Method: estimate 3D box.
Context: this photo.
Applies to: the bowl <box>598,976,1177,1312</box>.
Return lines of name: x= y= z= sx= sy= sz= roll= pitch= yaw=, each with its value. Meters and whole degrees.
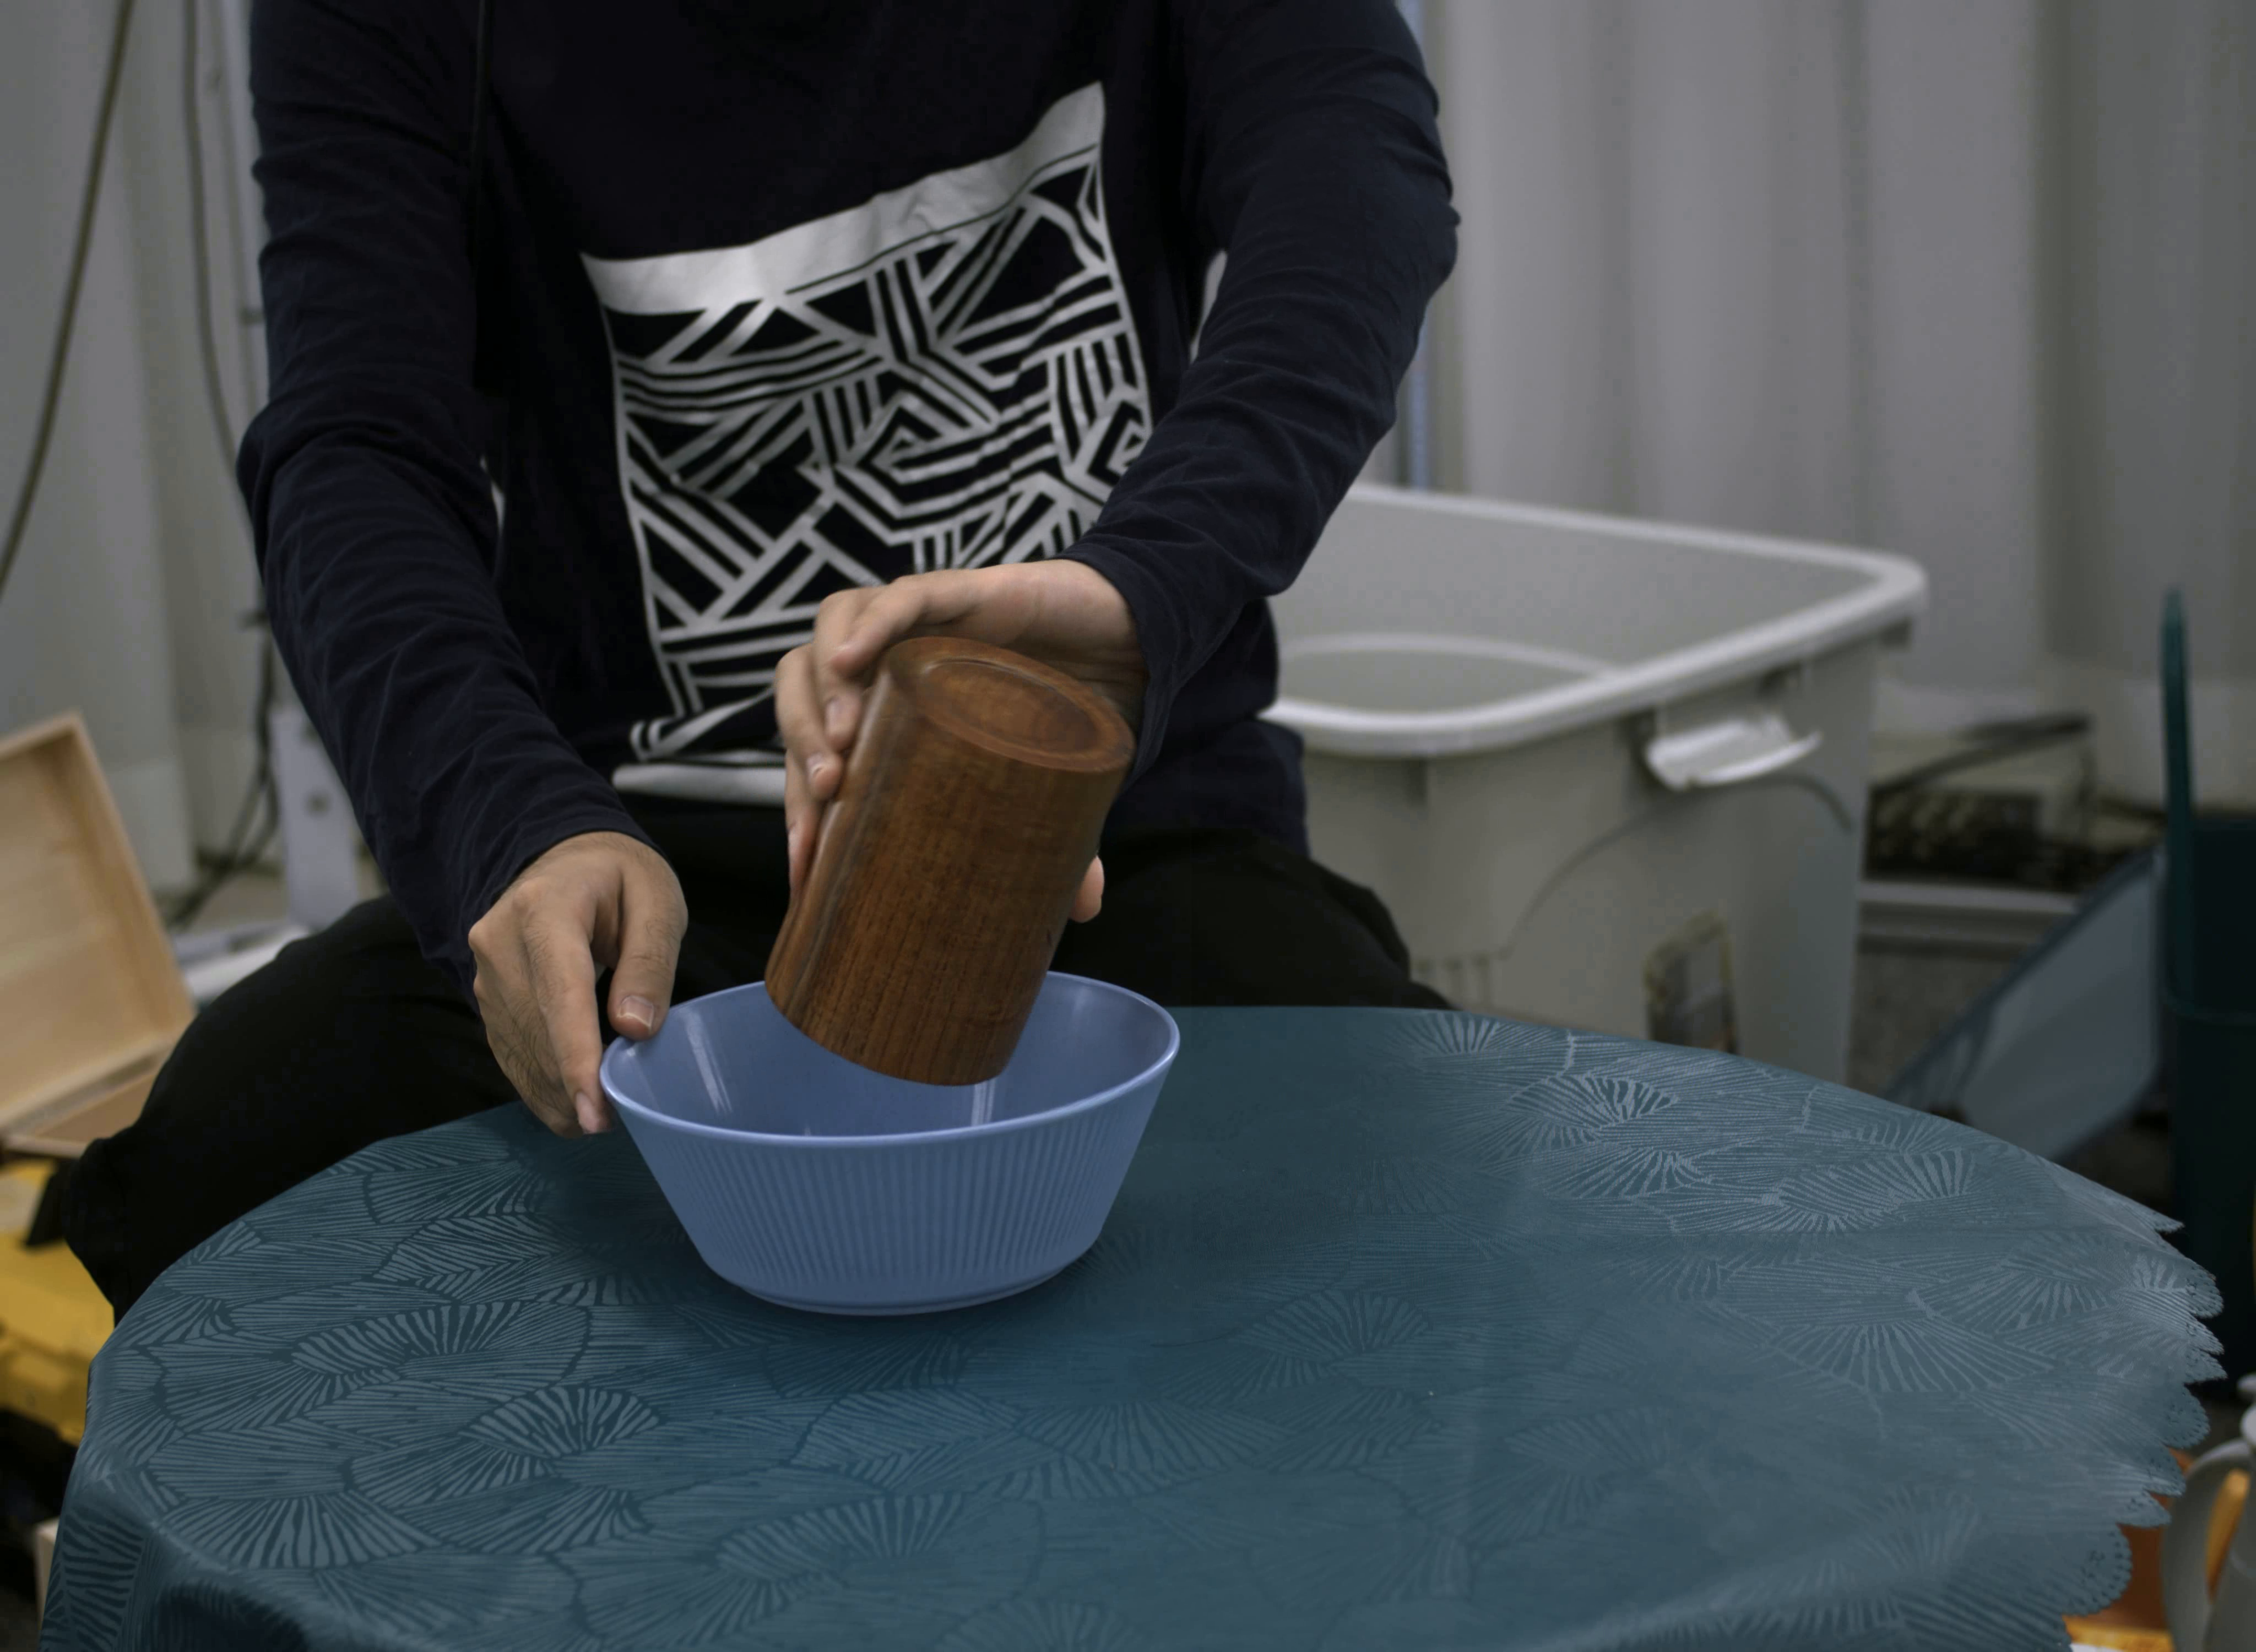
bowl: x=-0.071 y=0.097 z=1.658 sx=0.175 sy=0.070 sz=0.177 roll=-3 pitch=14 yaw=0

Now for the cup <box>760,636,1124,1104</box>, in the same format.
cup: x=-0.055 y=0.014 z=1.633 sx=0.087 sy=0.117 sz=0.088 roll=16 pitch=23 yaw=-7
